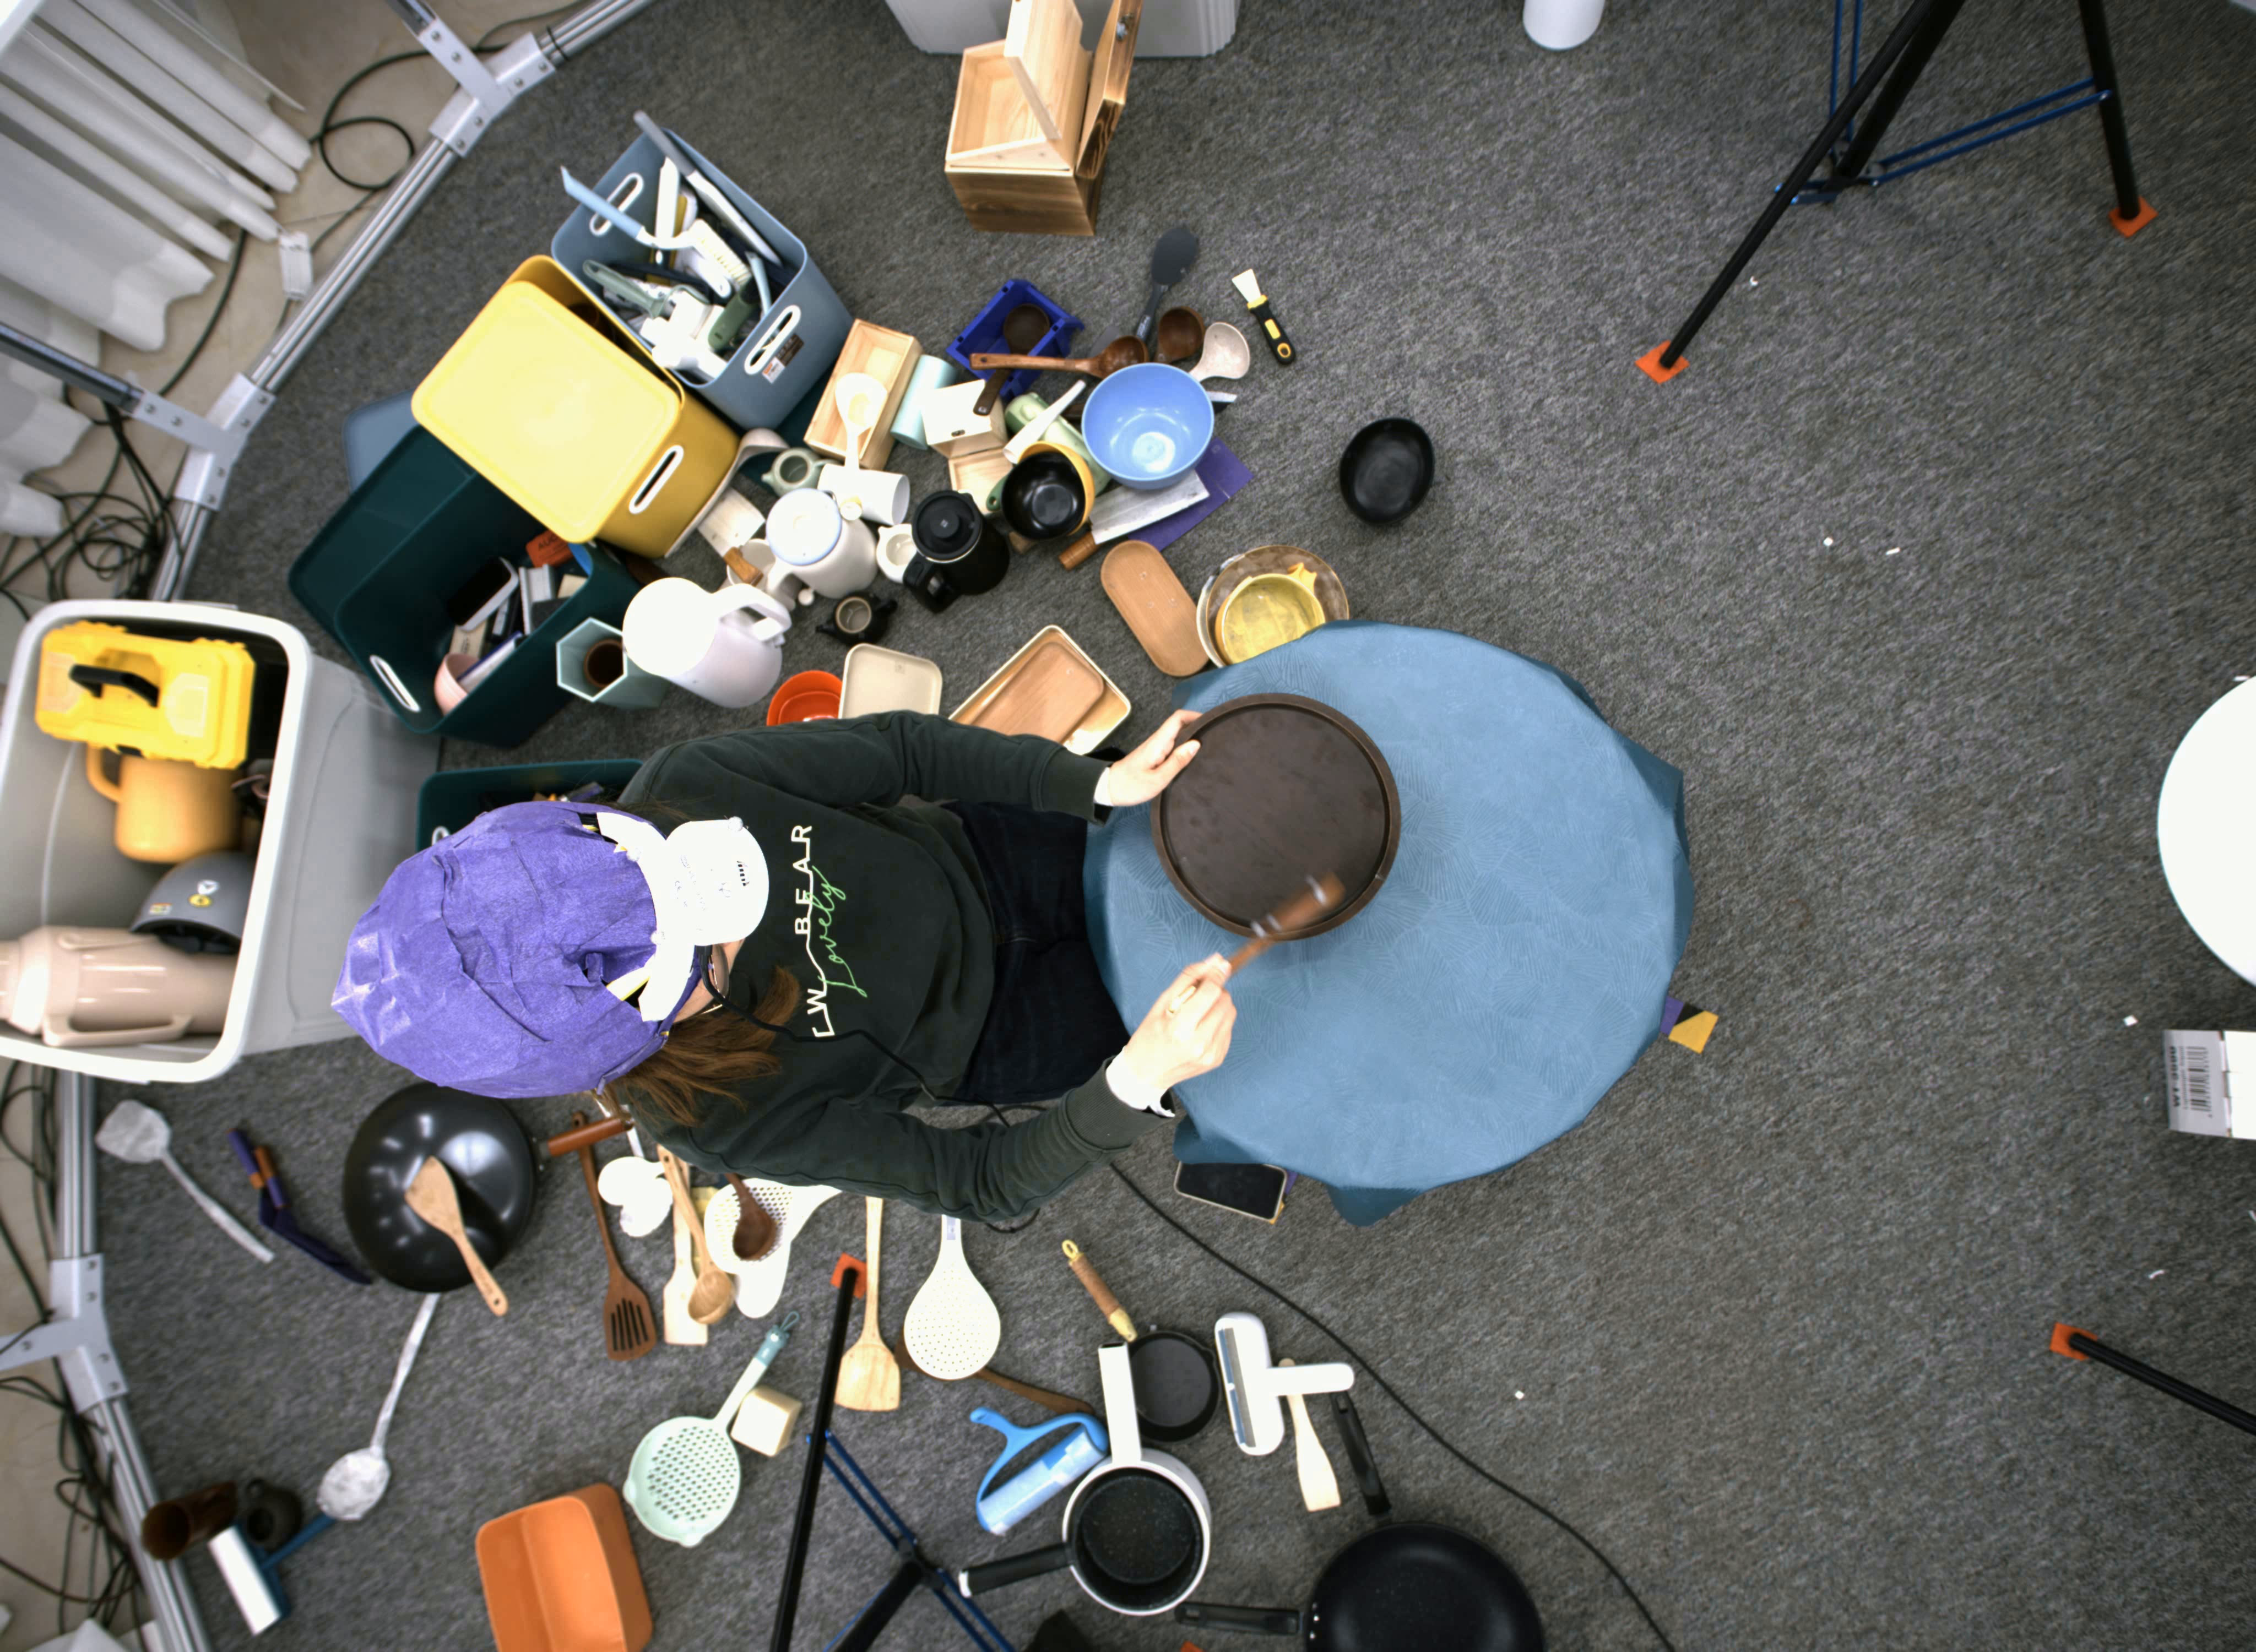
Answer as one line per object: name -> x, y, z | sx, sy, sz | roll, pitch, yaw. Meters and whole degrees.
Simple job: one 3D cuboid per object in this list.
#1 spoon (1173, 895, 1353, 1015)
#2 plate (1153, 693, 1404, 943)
spoon -> 0.118, 0.109, 1.197 | 0.212, 0.077, 0.017 | -27, 86, -34
plate -> 0.150, -0.008, 1.388 | 0.256, 0.028, 0.257 | 3, 102, 14
